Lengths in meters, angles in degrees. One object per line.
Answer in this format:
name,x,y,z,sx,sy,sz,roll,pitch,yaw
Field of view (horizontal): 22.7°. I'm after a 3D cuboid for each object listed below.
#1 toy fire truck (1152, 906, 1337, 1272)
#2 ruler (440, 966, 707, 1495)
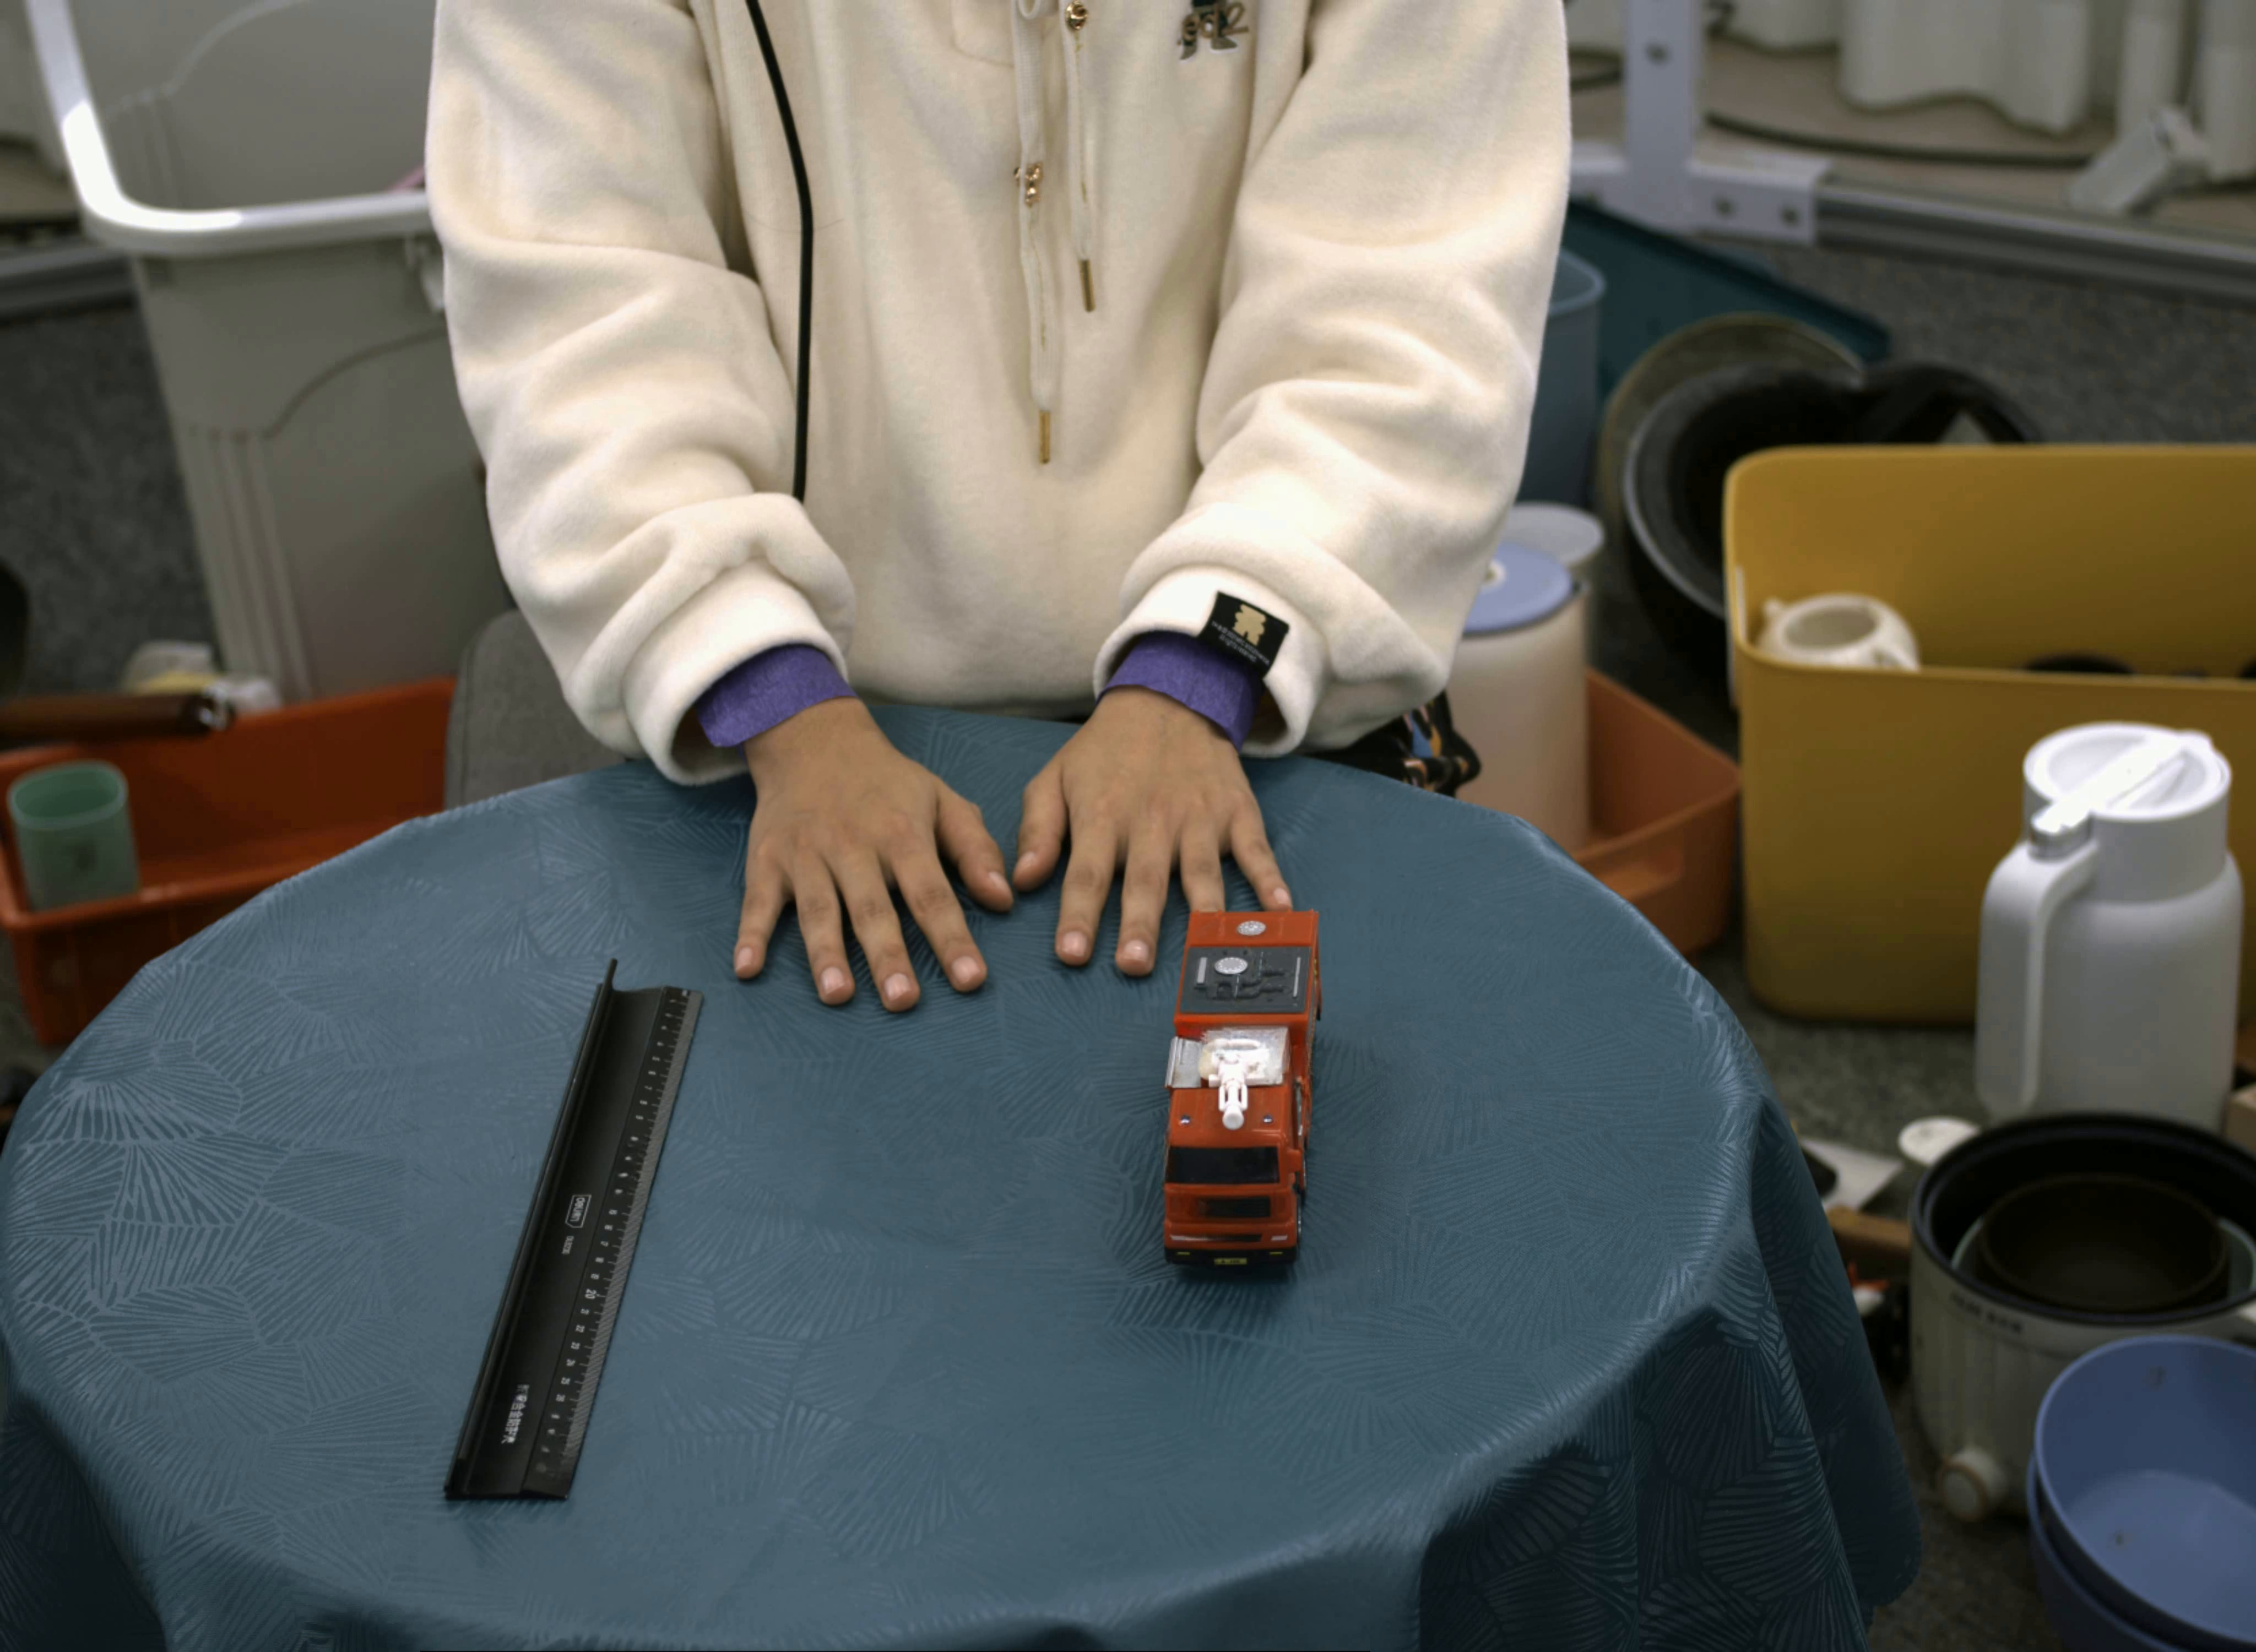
toy fire truck,0.039,0.086,1.864,0.053,0.069,0.170,-1,26,6
ruler,-0.180,0.127,1.851,0.039,0.017,0.317,3,27,4
